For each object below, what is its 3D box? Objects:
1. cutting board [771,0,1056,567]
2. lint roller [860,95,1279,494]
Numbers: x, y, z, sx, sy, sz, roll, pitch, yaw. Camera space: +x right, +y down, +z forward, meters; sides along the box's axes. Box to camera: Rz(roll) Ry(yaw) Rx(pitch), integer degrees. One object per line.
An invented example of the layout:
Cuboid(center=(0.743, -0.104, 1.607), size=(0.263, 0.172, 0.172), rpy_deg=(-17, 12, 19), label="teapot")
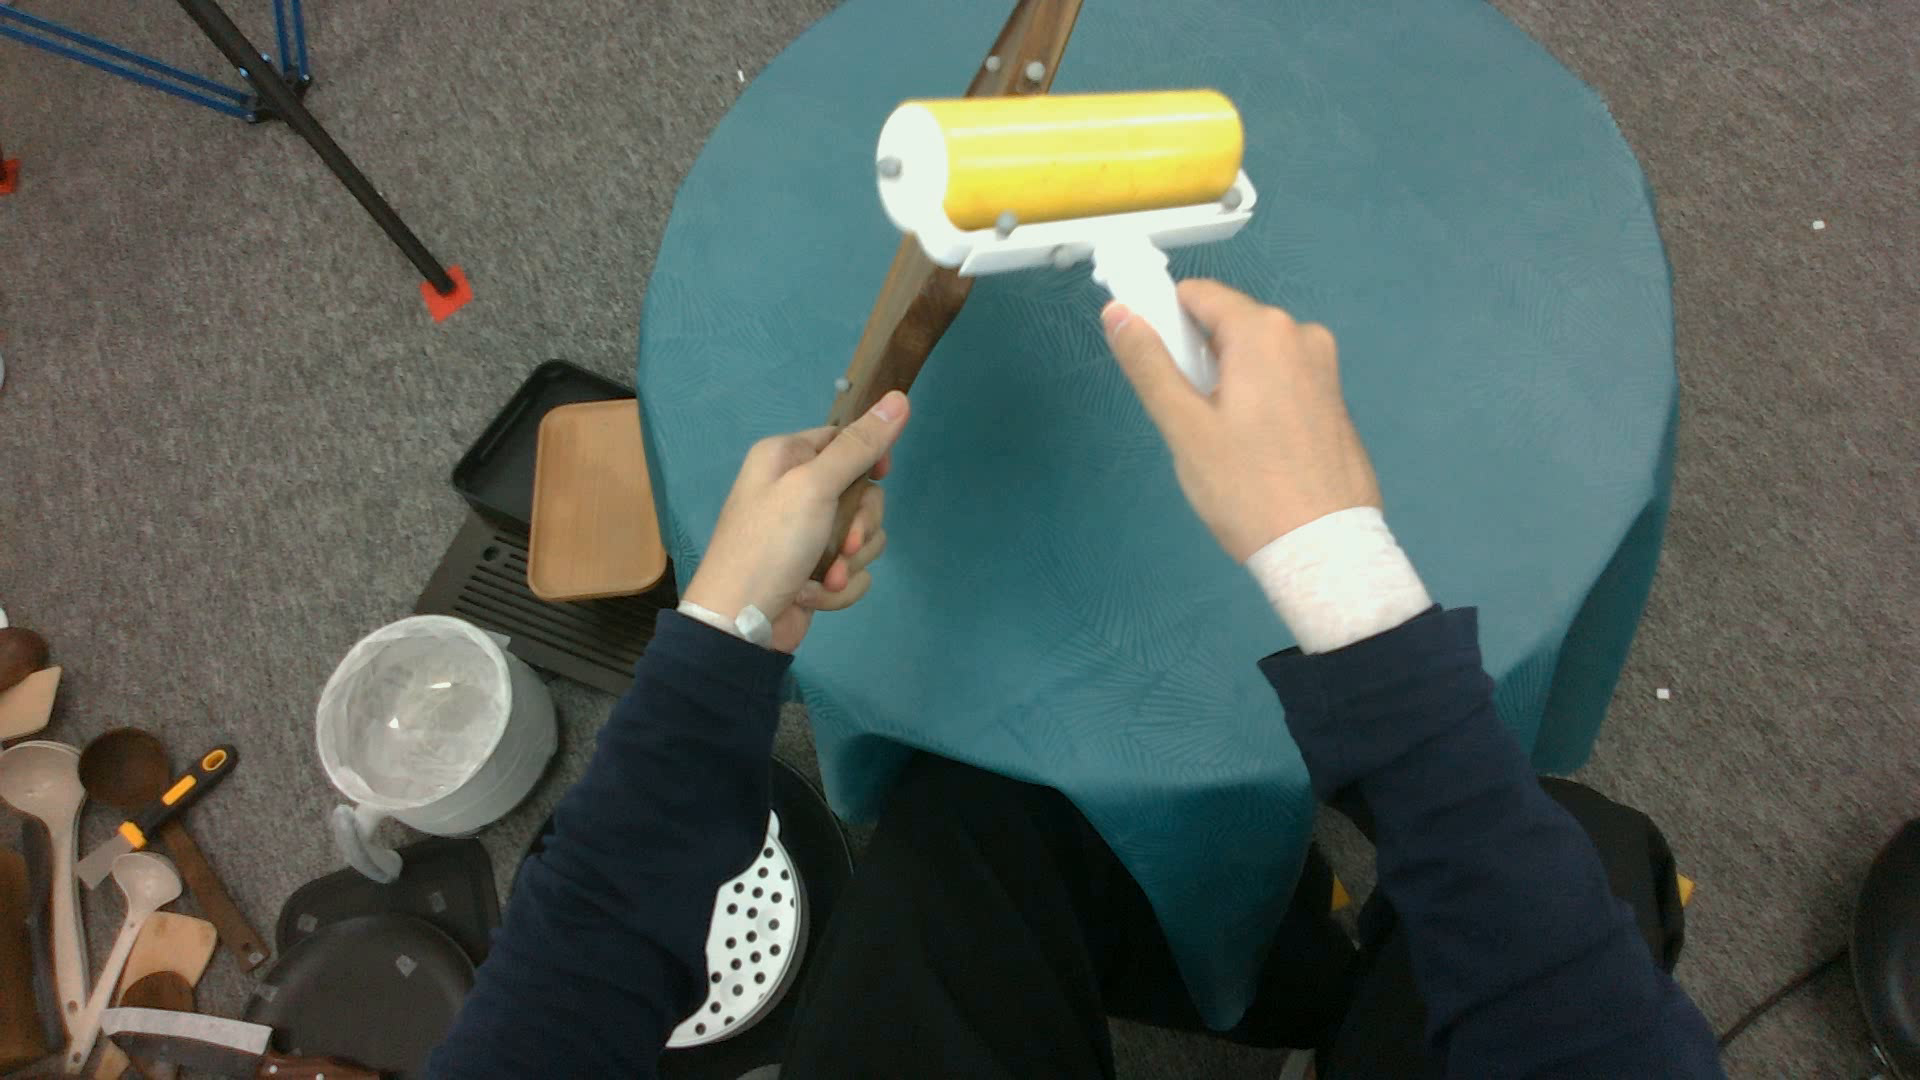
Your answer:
Cuboid(center=(-0.022, -0.143, 0.674), size=(0.023, 0.200, 0.353), rpy_deg=(24, 65, -11), label="cutting board")
Cuboid(center=(0.074, -0.105, 0.549), size=(0.175, 0.051, 0.192), rpy_deg=(-16, 61, -40), label="lint roller")
